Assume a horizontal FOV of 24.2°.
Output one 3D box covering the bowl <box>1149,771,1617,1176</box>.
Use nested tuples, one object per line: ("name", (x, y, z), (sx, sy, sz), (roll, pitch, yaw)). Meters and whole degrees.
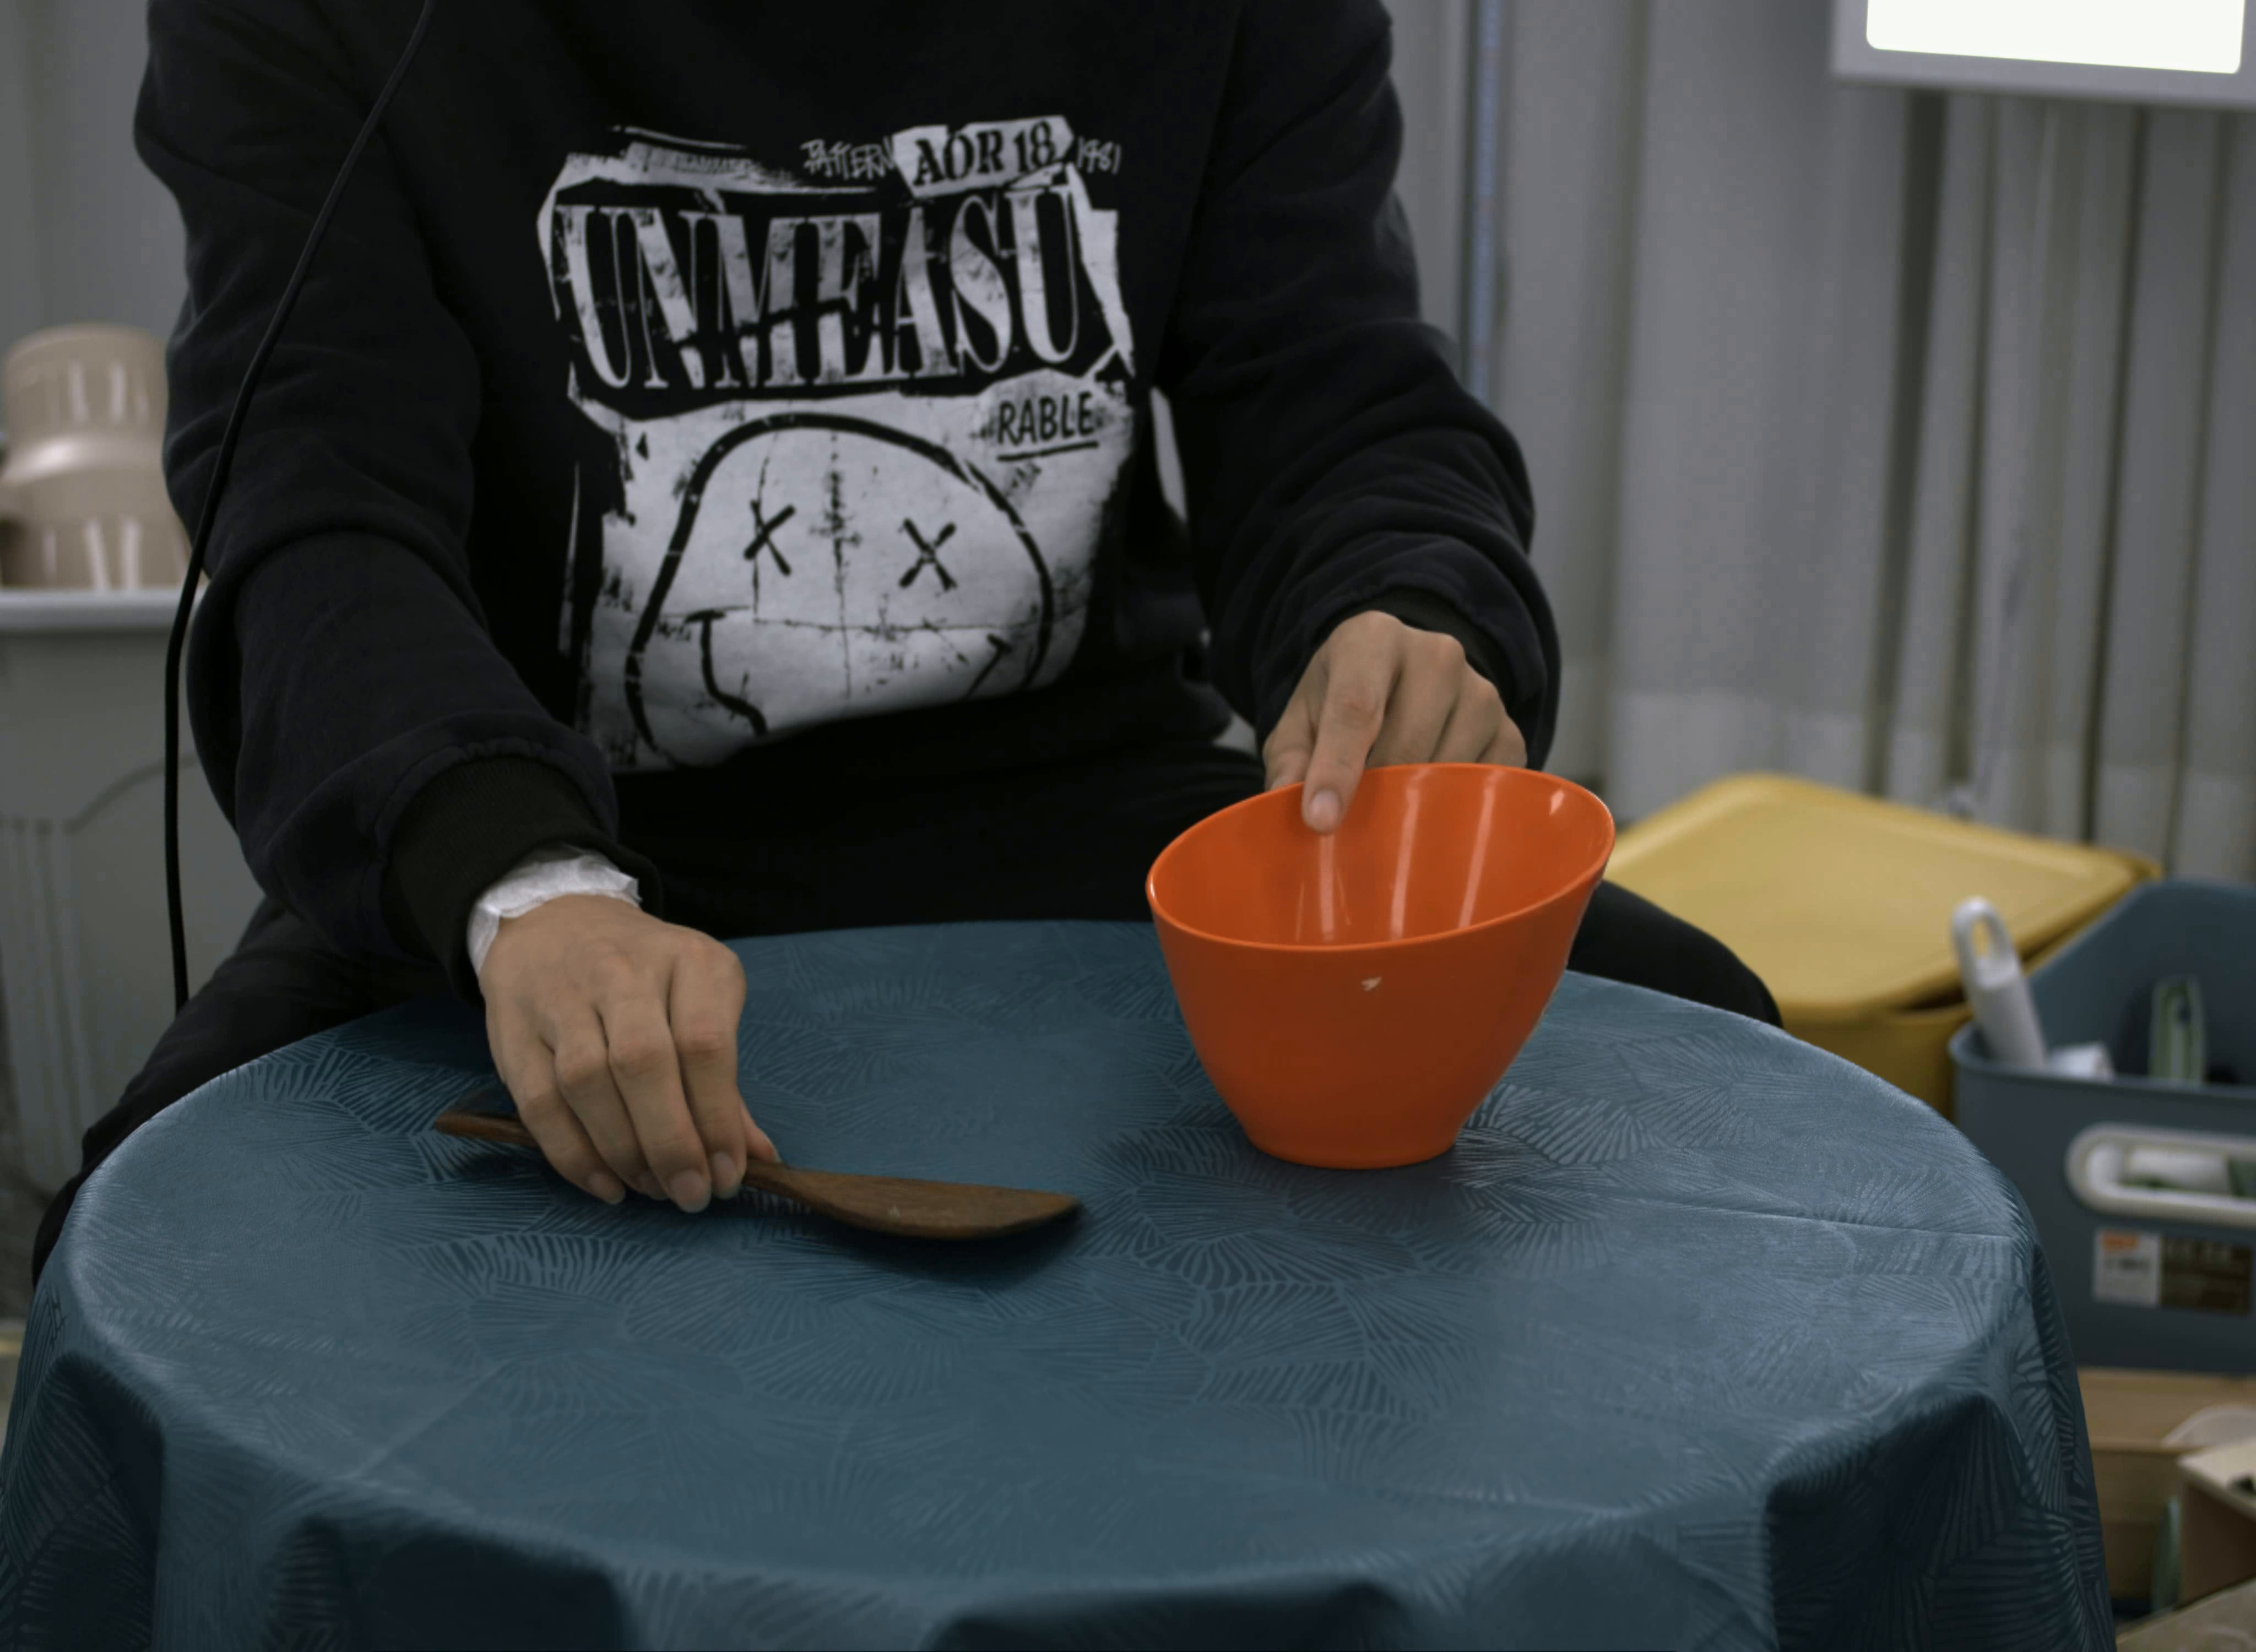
("bowl", (0.080, 0.050, 1.668), (0.147, 0.105, 0.147), (1, 16, 0))

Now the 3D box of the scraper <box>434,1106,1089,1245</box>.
("scraper", (-0.116, 0.106, 1.607), (0.209, 0.011, 0.076), (9, 8, 21))
